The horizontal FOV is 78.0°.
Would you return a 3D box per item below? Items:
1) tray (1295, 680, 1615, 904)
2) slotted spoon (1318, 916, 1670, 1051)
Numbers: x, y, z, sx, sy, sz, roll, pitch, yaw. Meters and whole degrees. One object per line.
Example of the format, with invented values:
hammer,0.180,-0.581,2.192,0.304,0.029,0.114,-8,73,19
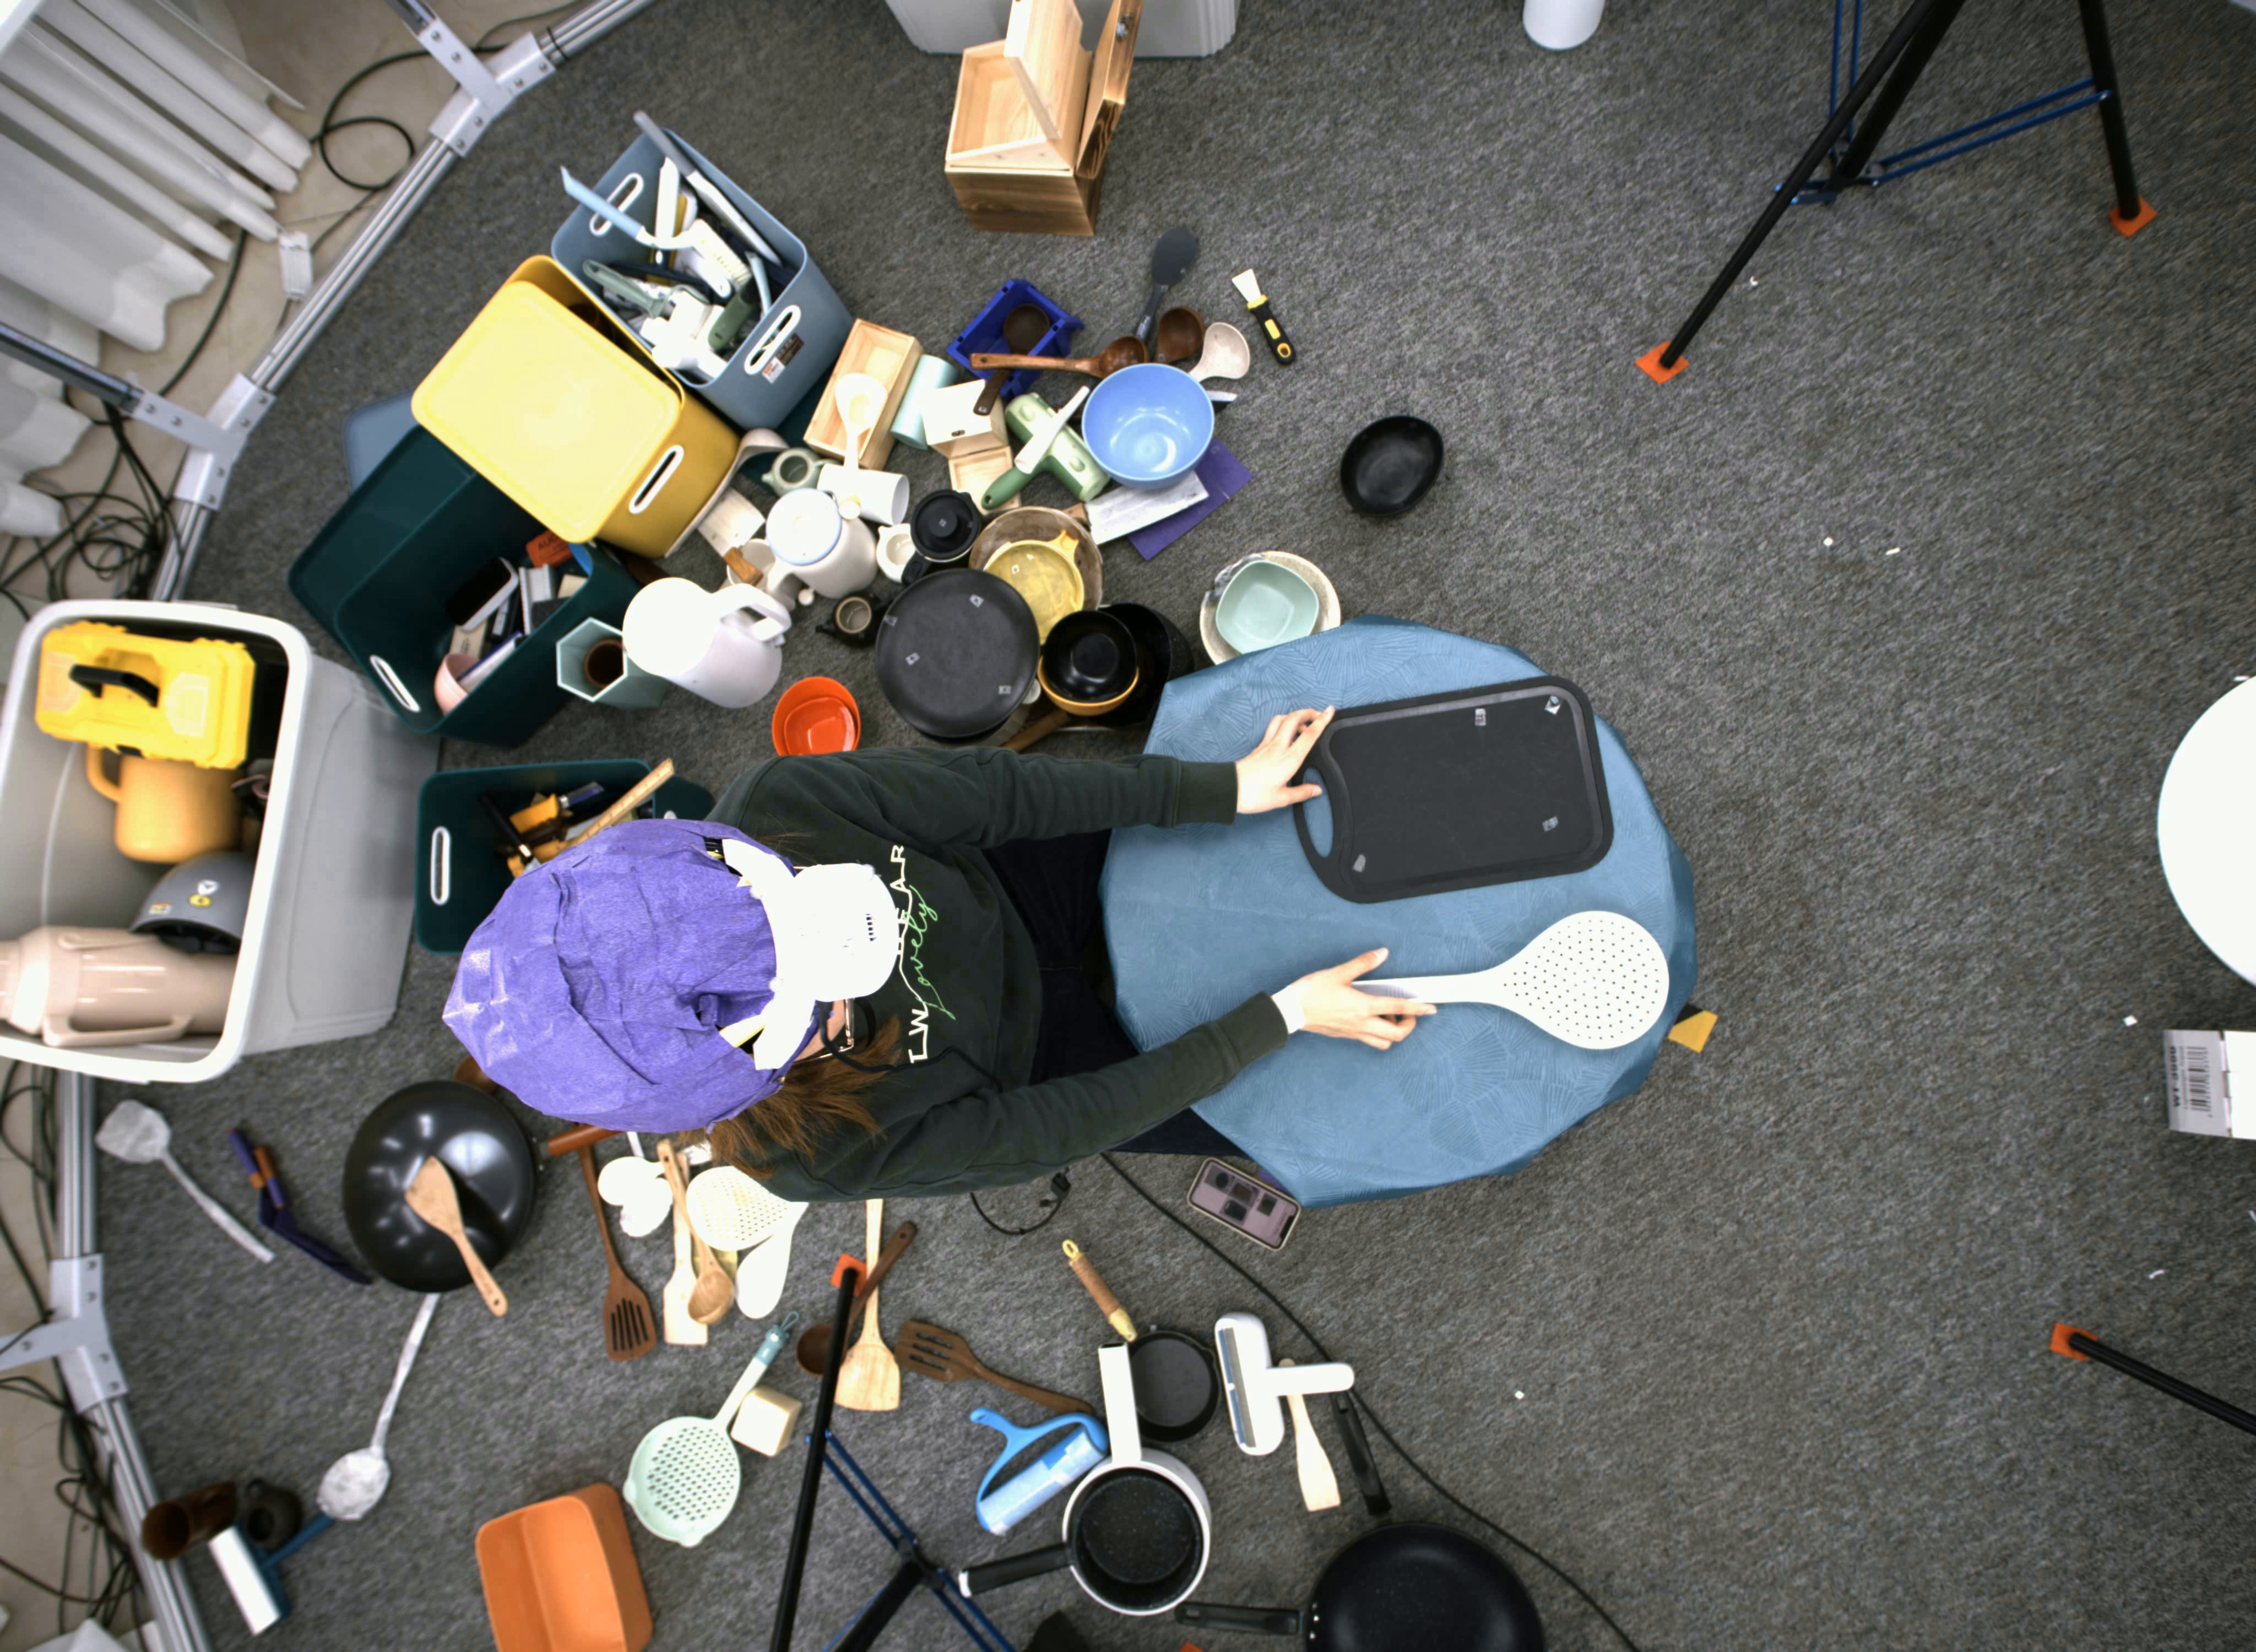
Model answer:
tray,0.340,-0.036,1.453,0.327,0.010,0.210,-9,85,9
slotted spoon,0.371,0.165,1.417,0.351,0.046,0.135,-5,86,11
